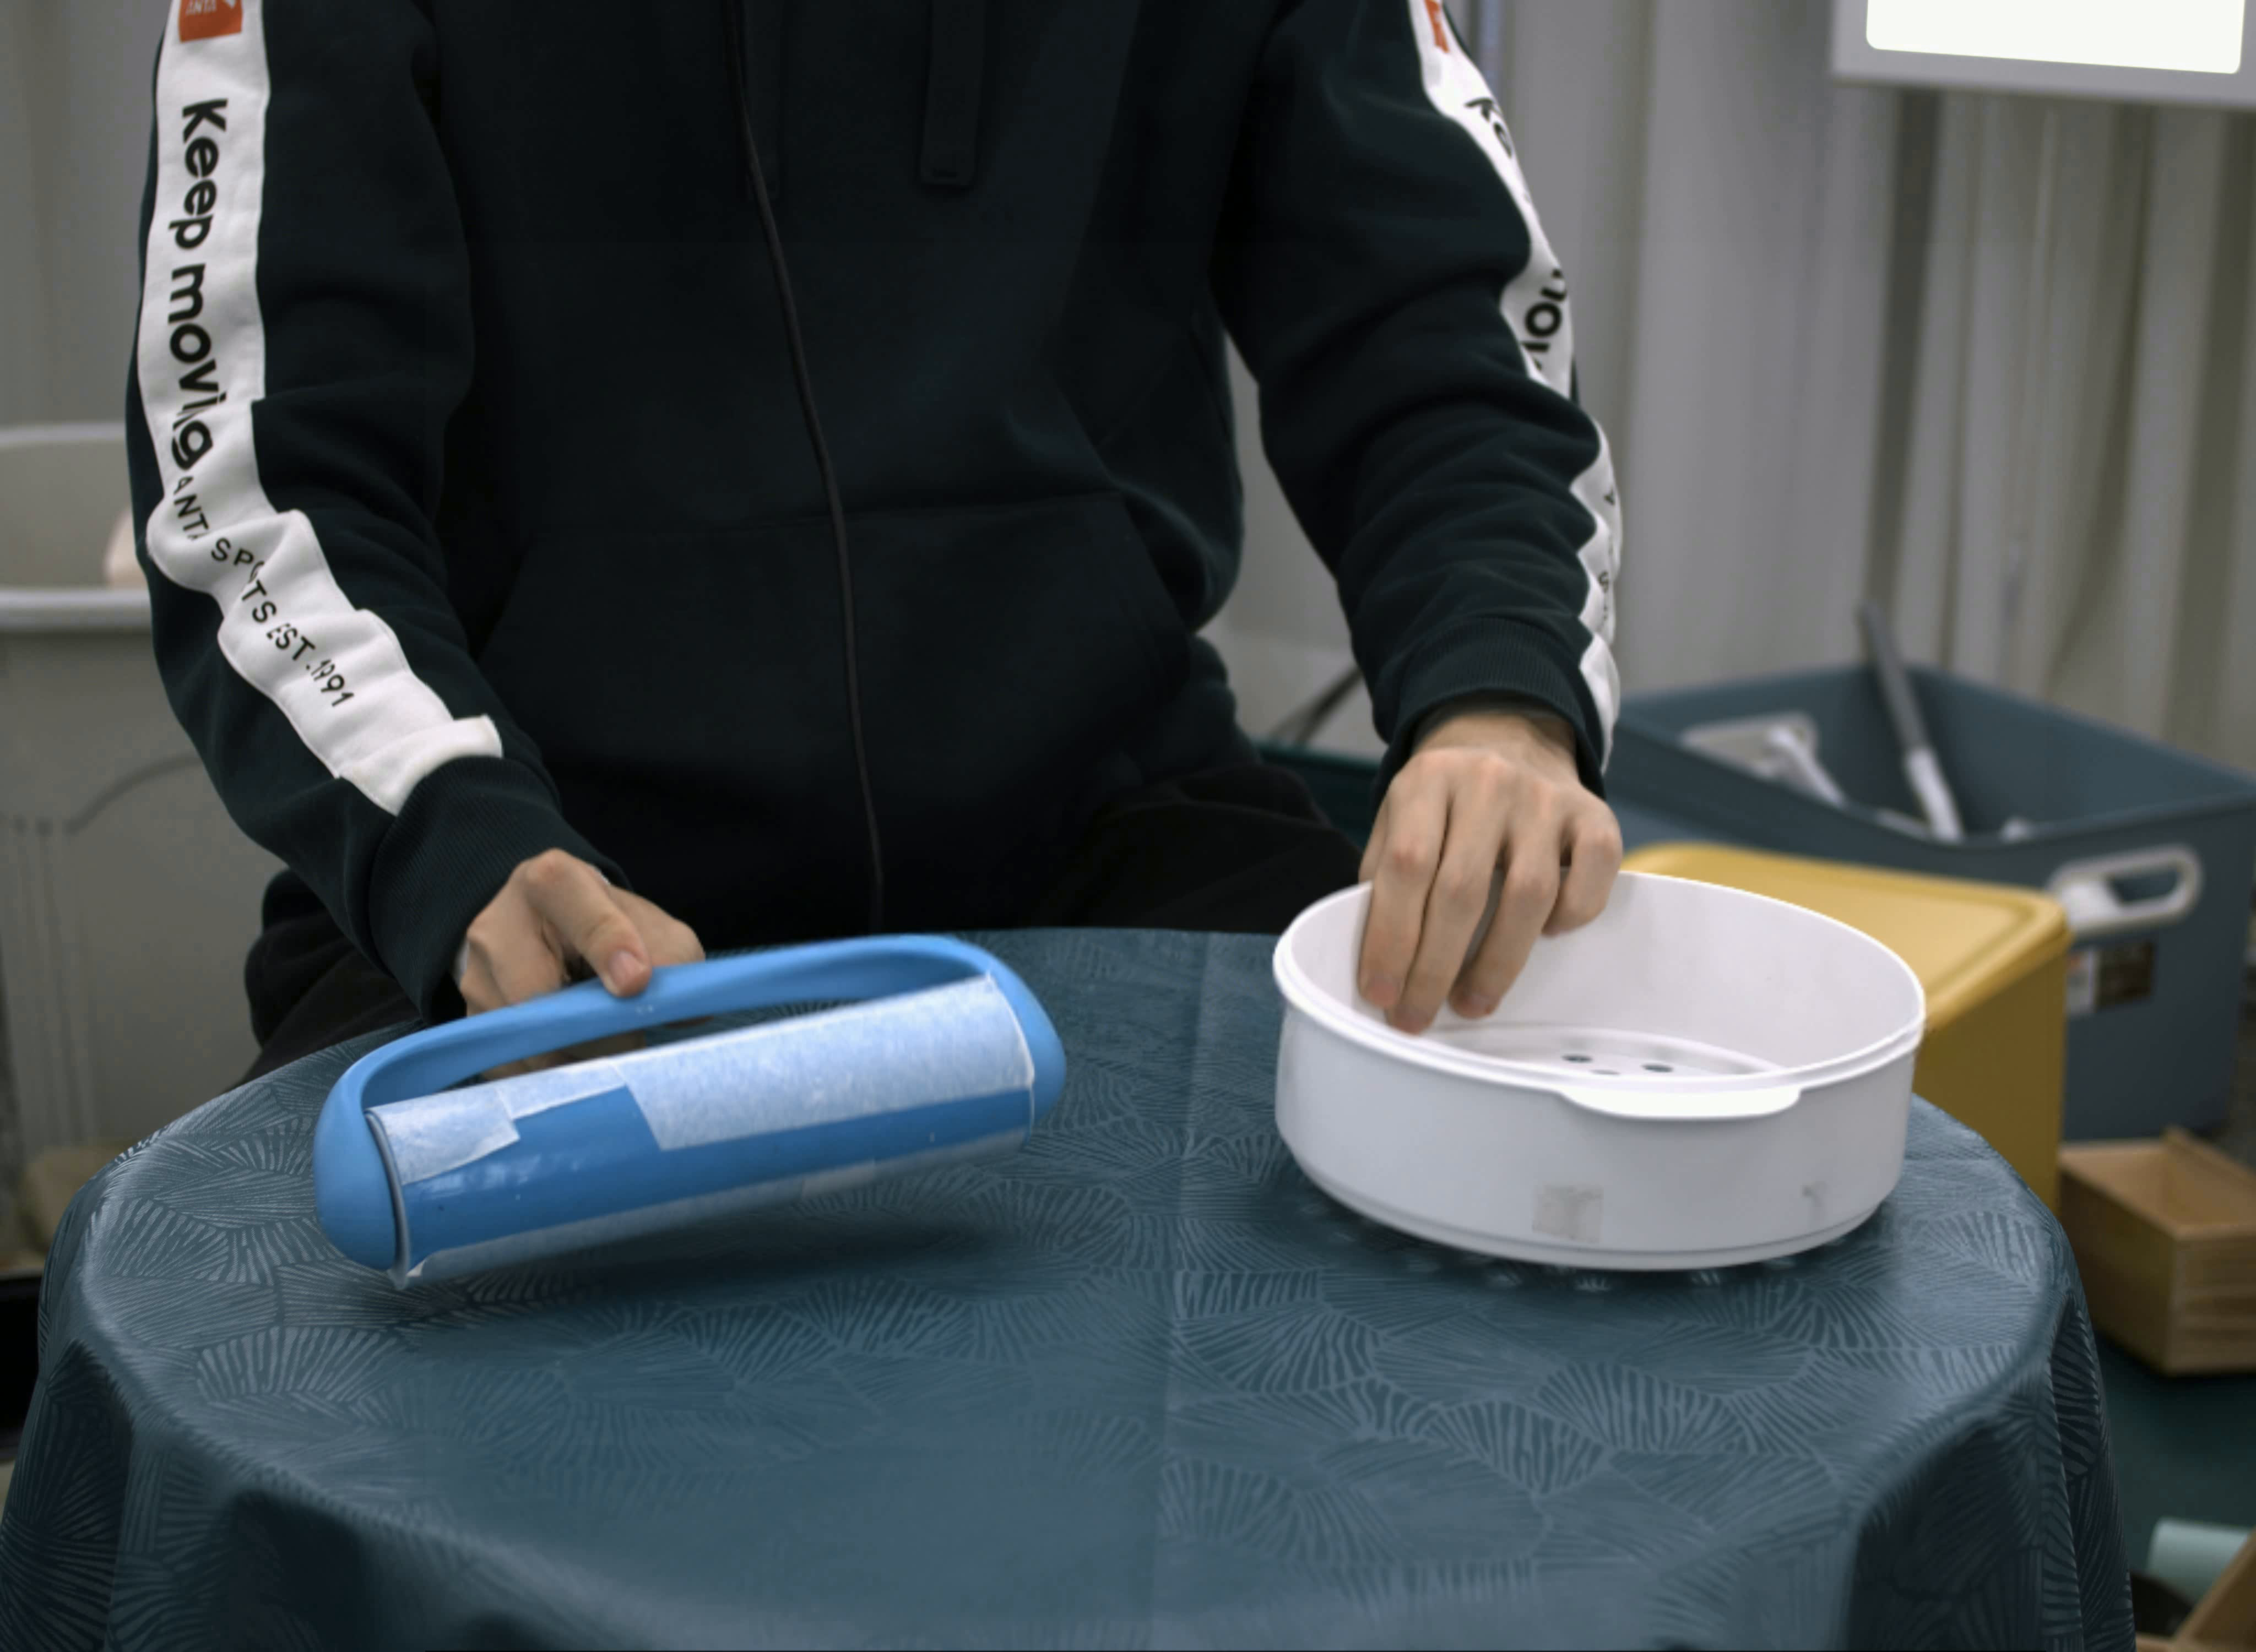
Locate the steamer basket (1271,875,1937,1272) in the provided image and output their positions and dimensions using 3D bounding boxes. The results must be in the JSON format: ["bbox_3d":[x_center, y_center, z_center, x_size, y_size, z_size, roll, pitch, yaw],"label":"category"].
[{"bbox_3d":[0.143,0.075,1.610,0.202,0.070,0.228,3,16,-11],"label":"steamer basket"}]

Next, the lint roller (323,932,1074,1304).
[{"bbox_3d":[-0.148,0.076,1.586,0.229,0.068,0.178,-16,18,-23],"label":"lint roller"}]
